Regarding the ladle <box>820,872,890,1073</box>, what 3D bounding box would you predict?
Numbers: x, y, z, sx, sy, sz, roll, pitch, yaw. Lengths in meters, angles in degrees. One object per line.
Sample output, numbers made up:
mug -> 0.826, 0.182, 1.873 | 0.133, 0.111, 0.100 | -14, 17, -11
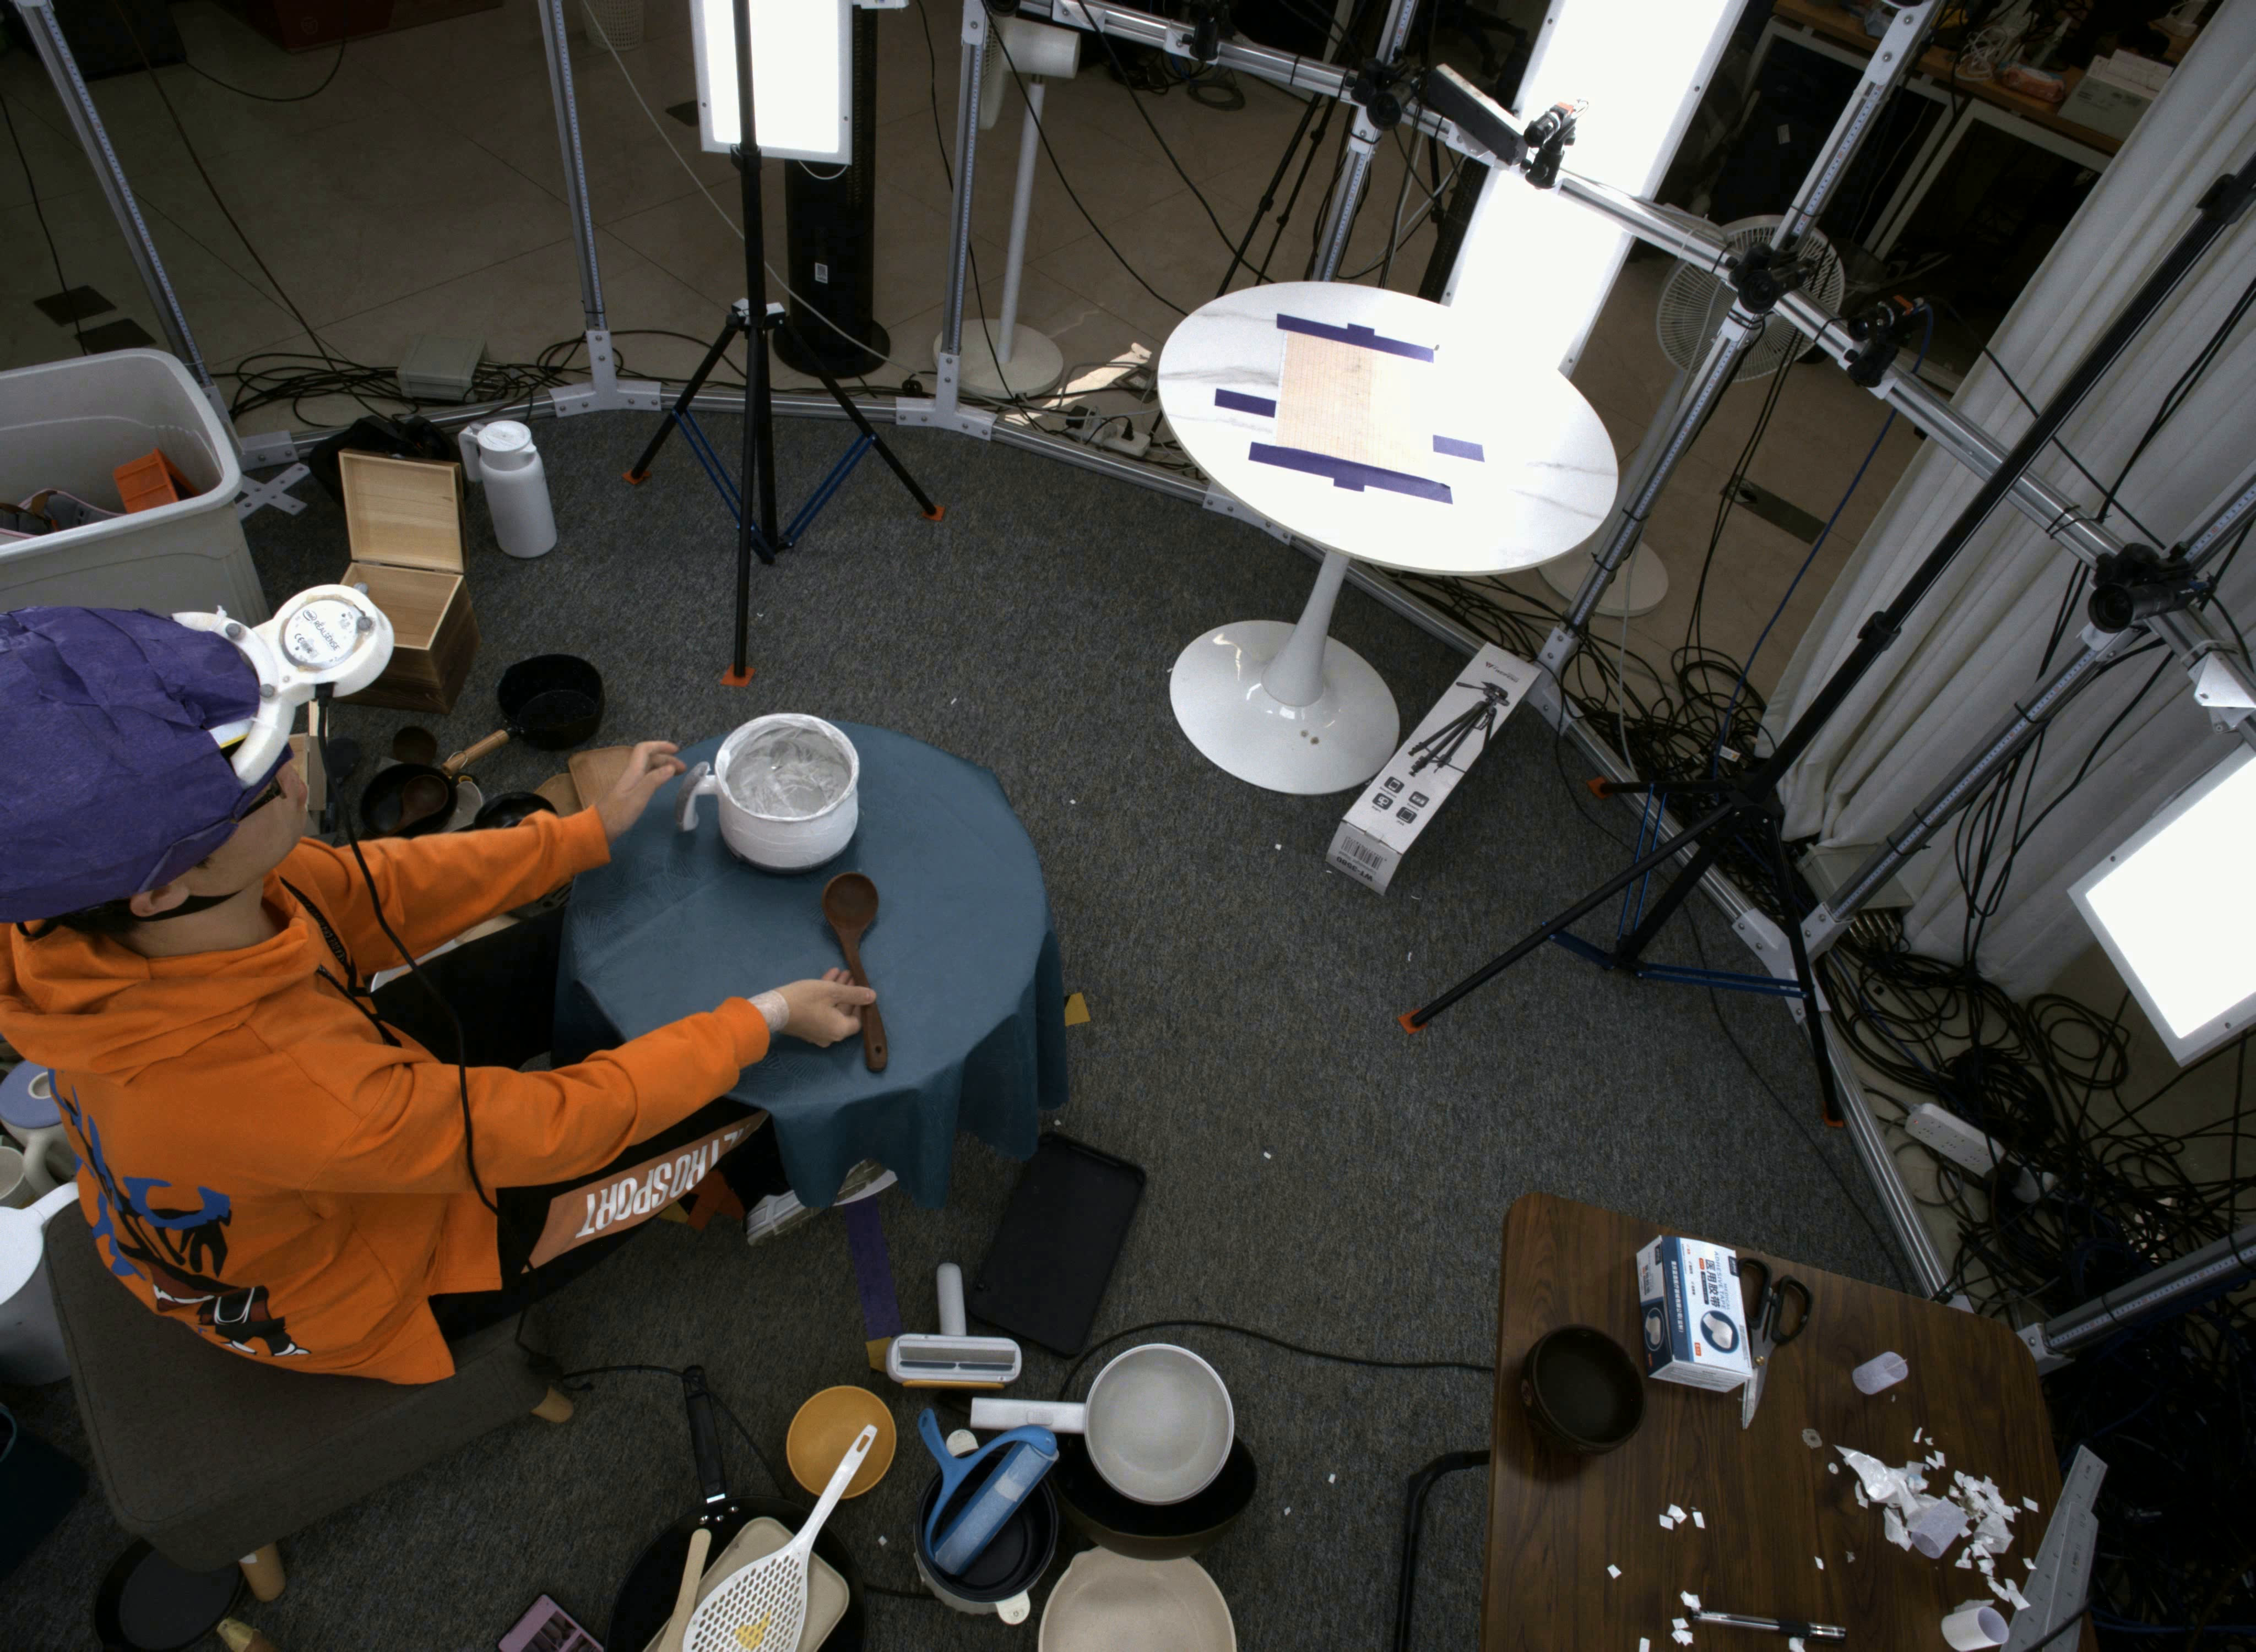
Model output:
ladle -> -0.320, 0.170, 1.574 | 0.077, 0.066, 0.254 | 0, 52, -30

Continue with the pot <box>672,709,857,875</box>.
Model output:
pot -> -0.462, -0.038, 1.643 | 0.234, 0.139, 0.174 | -3, 53, -17
